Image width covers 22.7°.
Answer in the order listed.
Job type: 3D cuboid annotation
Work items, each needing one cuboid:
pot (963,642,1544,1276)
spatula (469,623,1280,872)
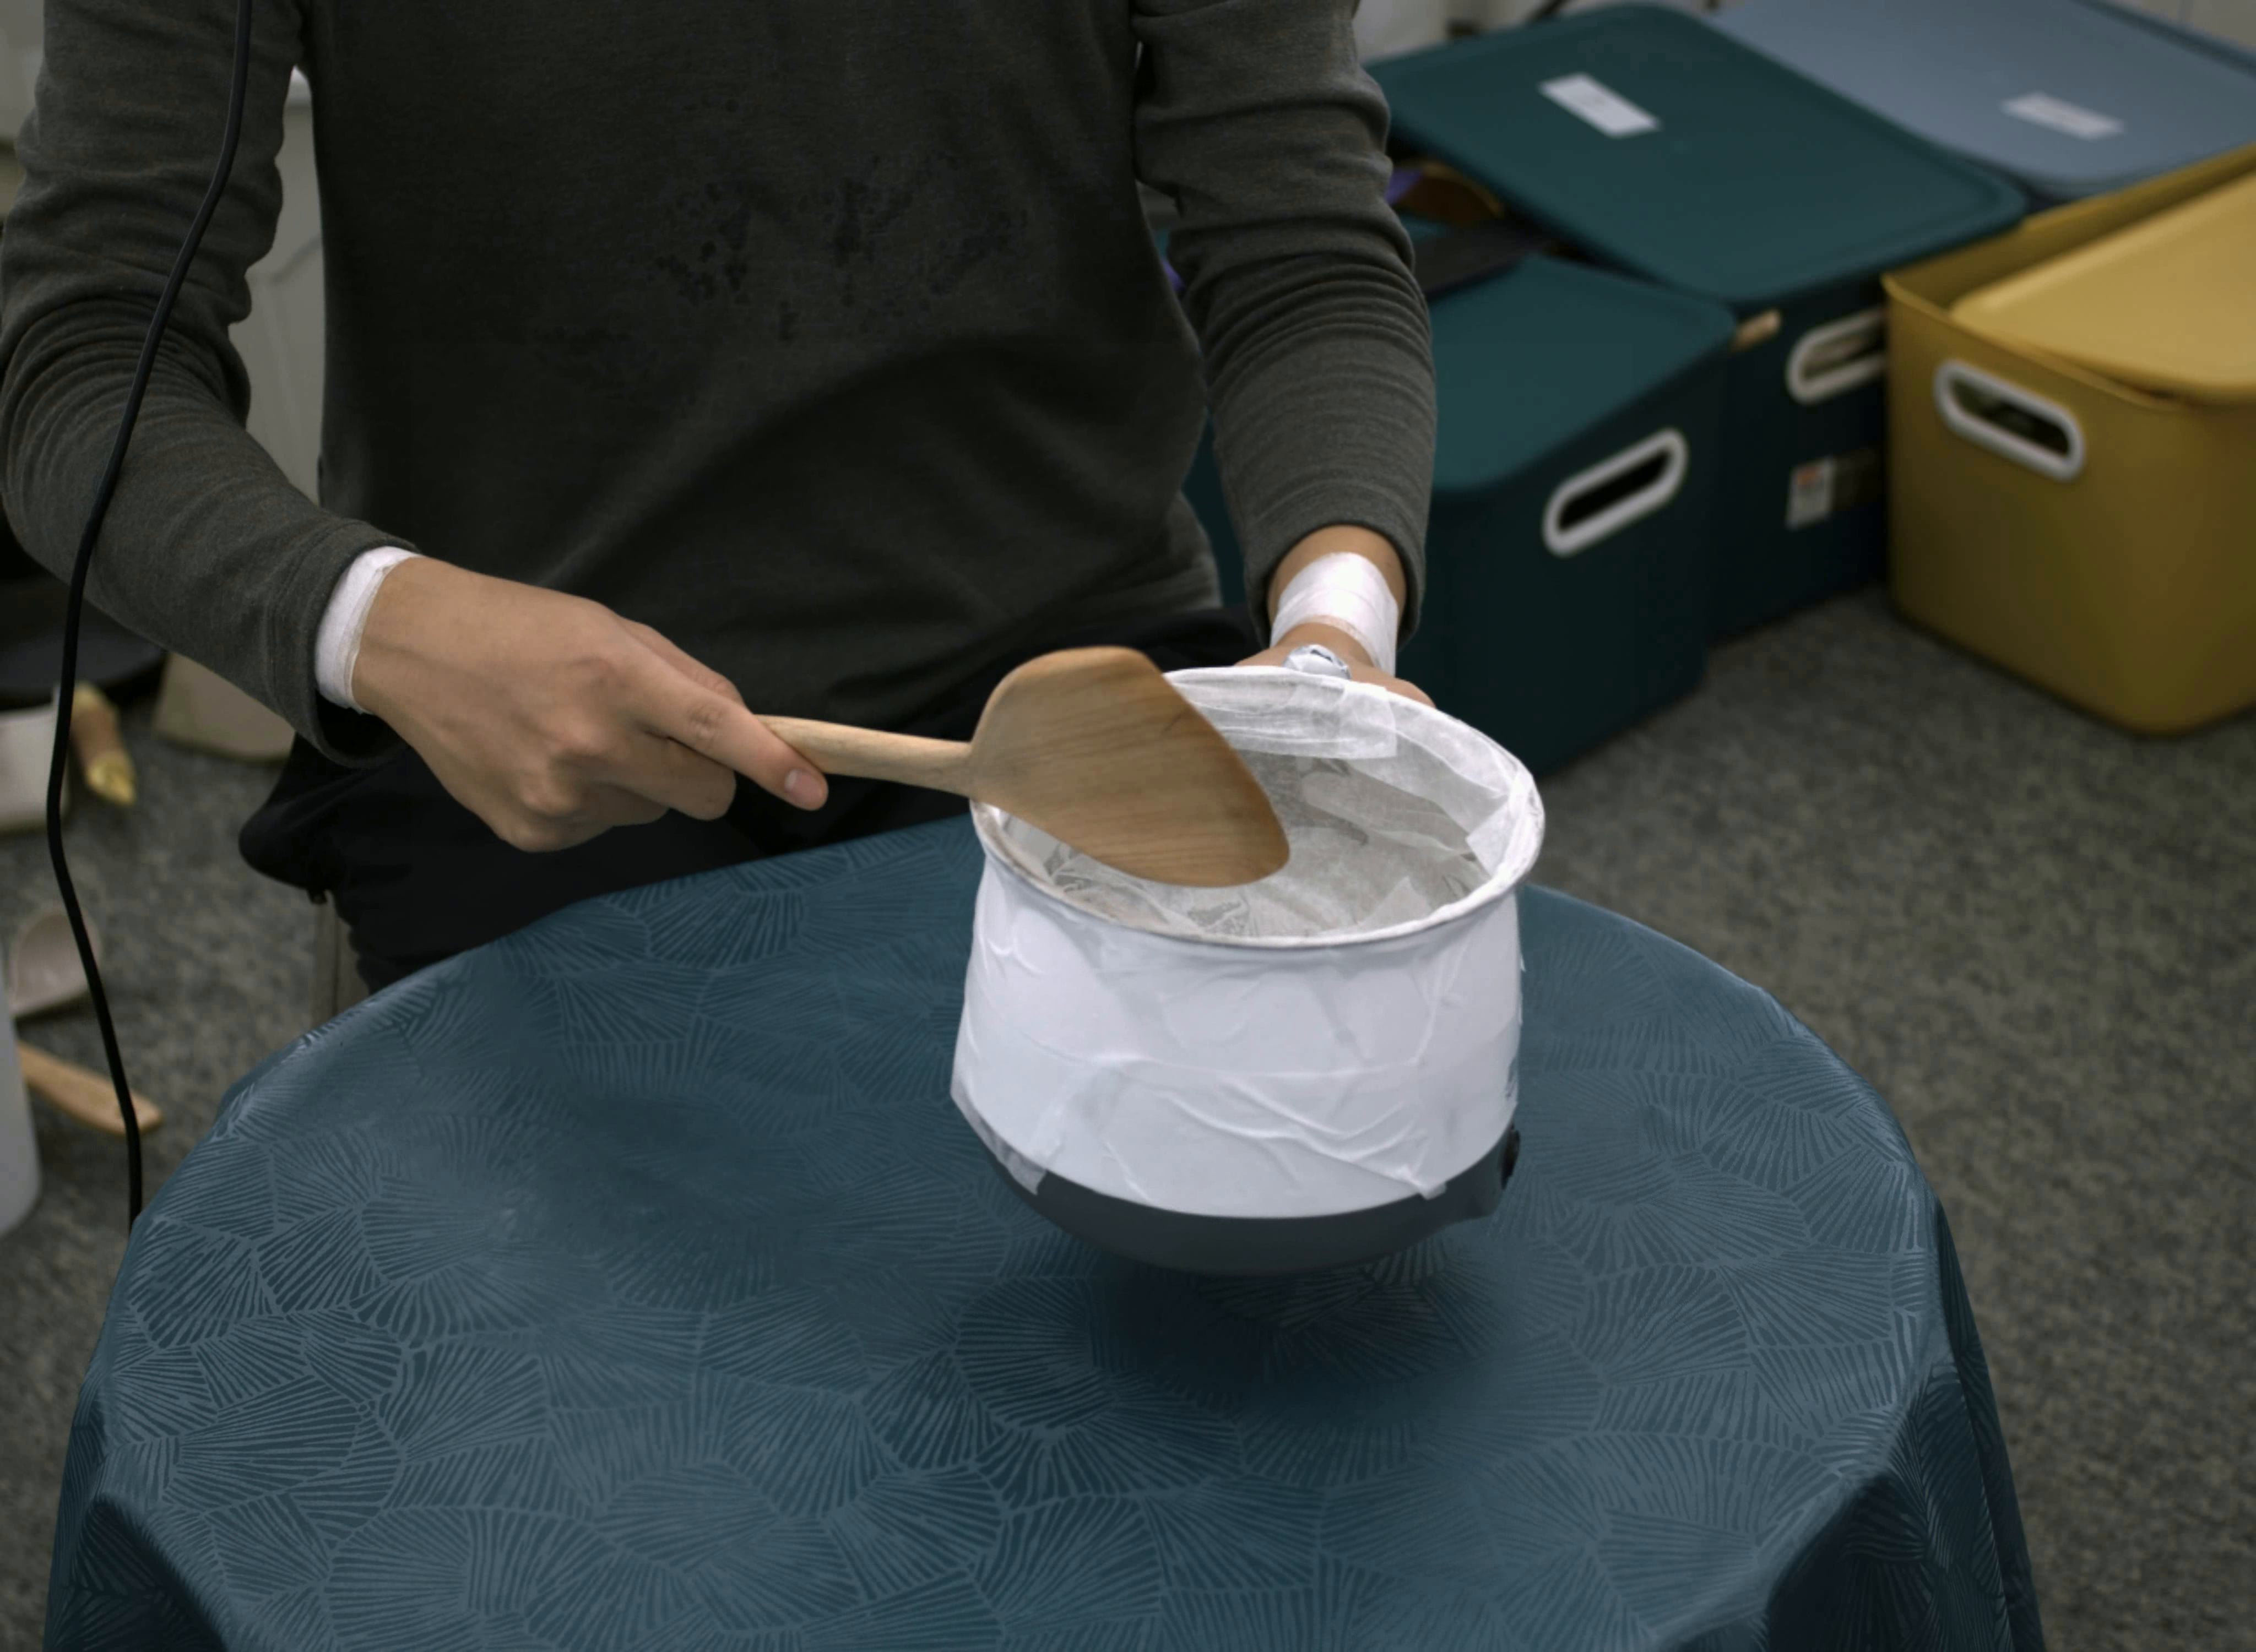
[{"bbox_3d":[0.042,0.034,1.778,0.178,0.135,0.237,7,28,8],"label":"pot"},{"bbox_3d":[-0.097,-0.031,1.767,0.388,0.095,0.019,6,49,50],"label":"spatula"}]
